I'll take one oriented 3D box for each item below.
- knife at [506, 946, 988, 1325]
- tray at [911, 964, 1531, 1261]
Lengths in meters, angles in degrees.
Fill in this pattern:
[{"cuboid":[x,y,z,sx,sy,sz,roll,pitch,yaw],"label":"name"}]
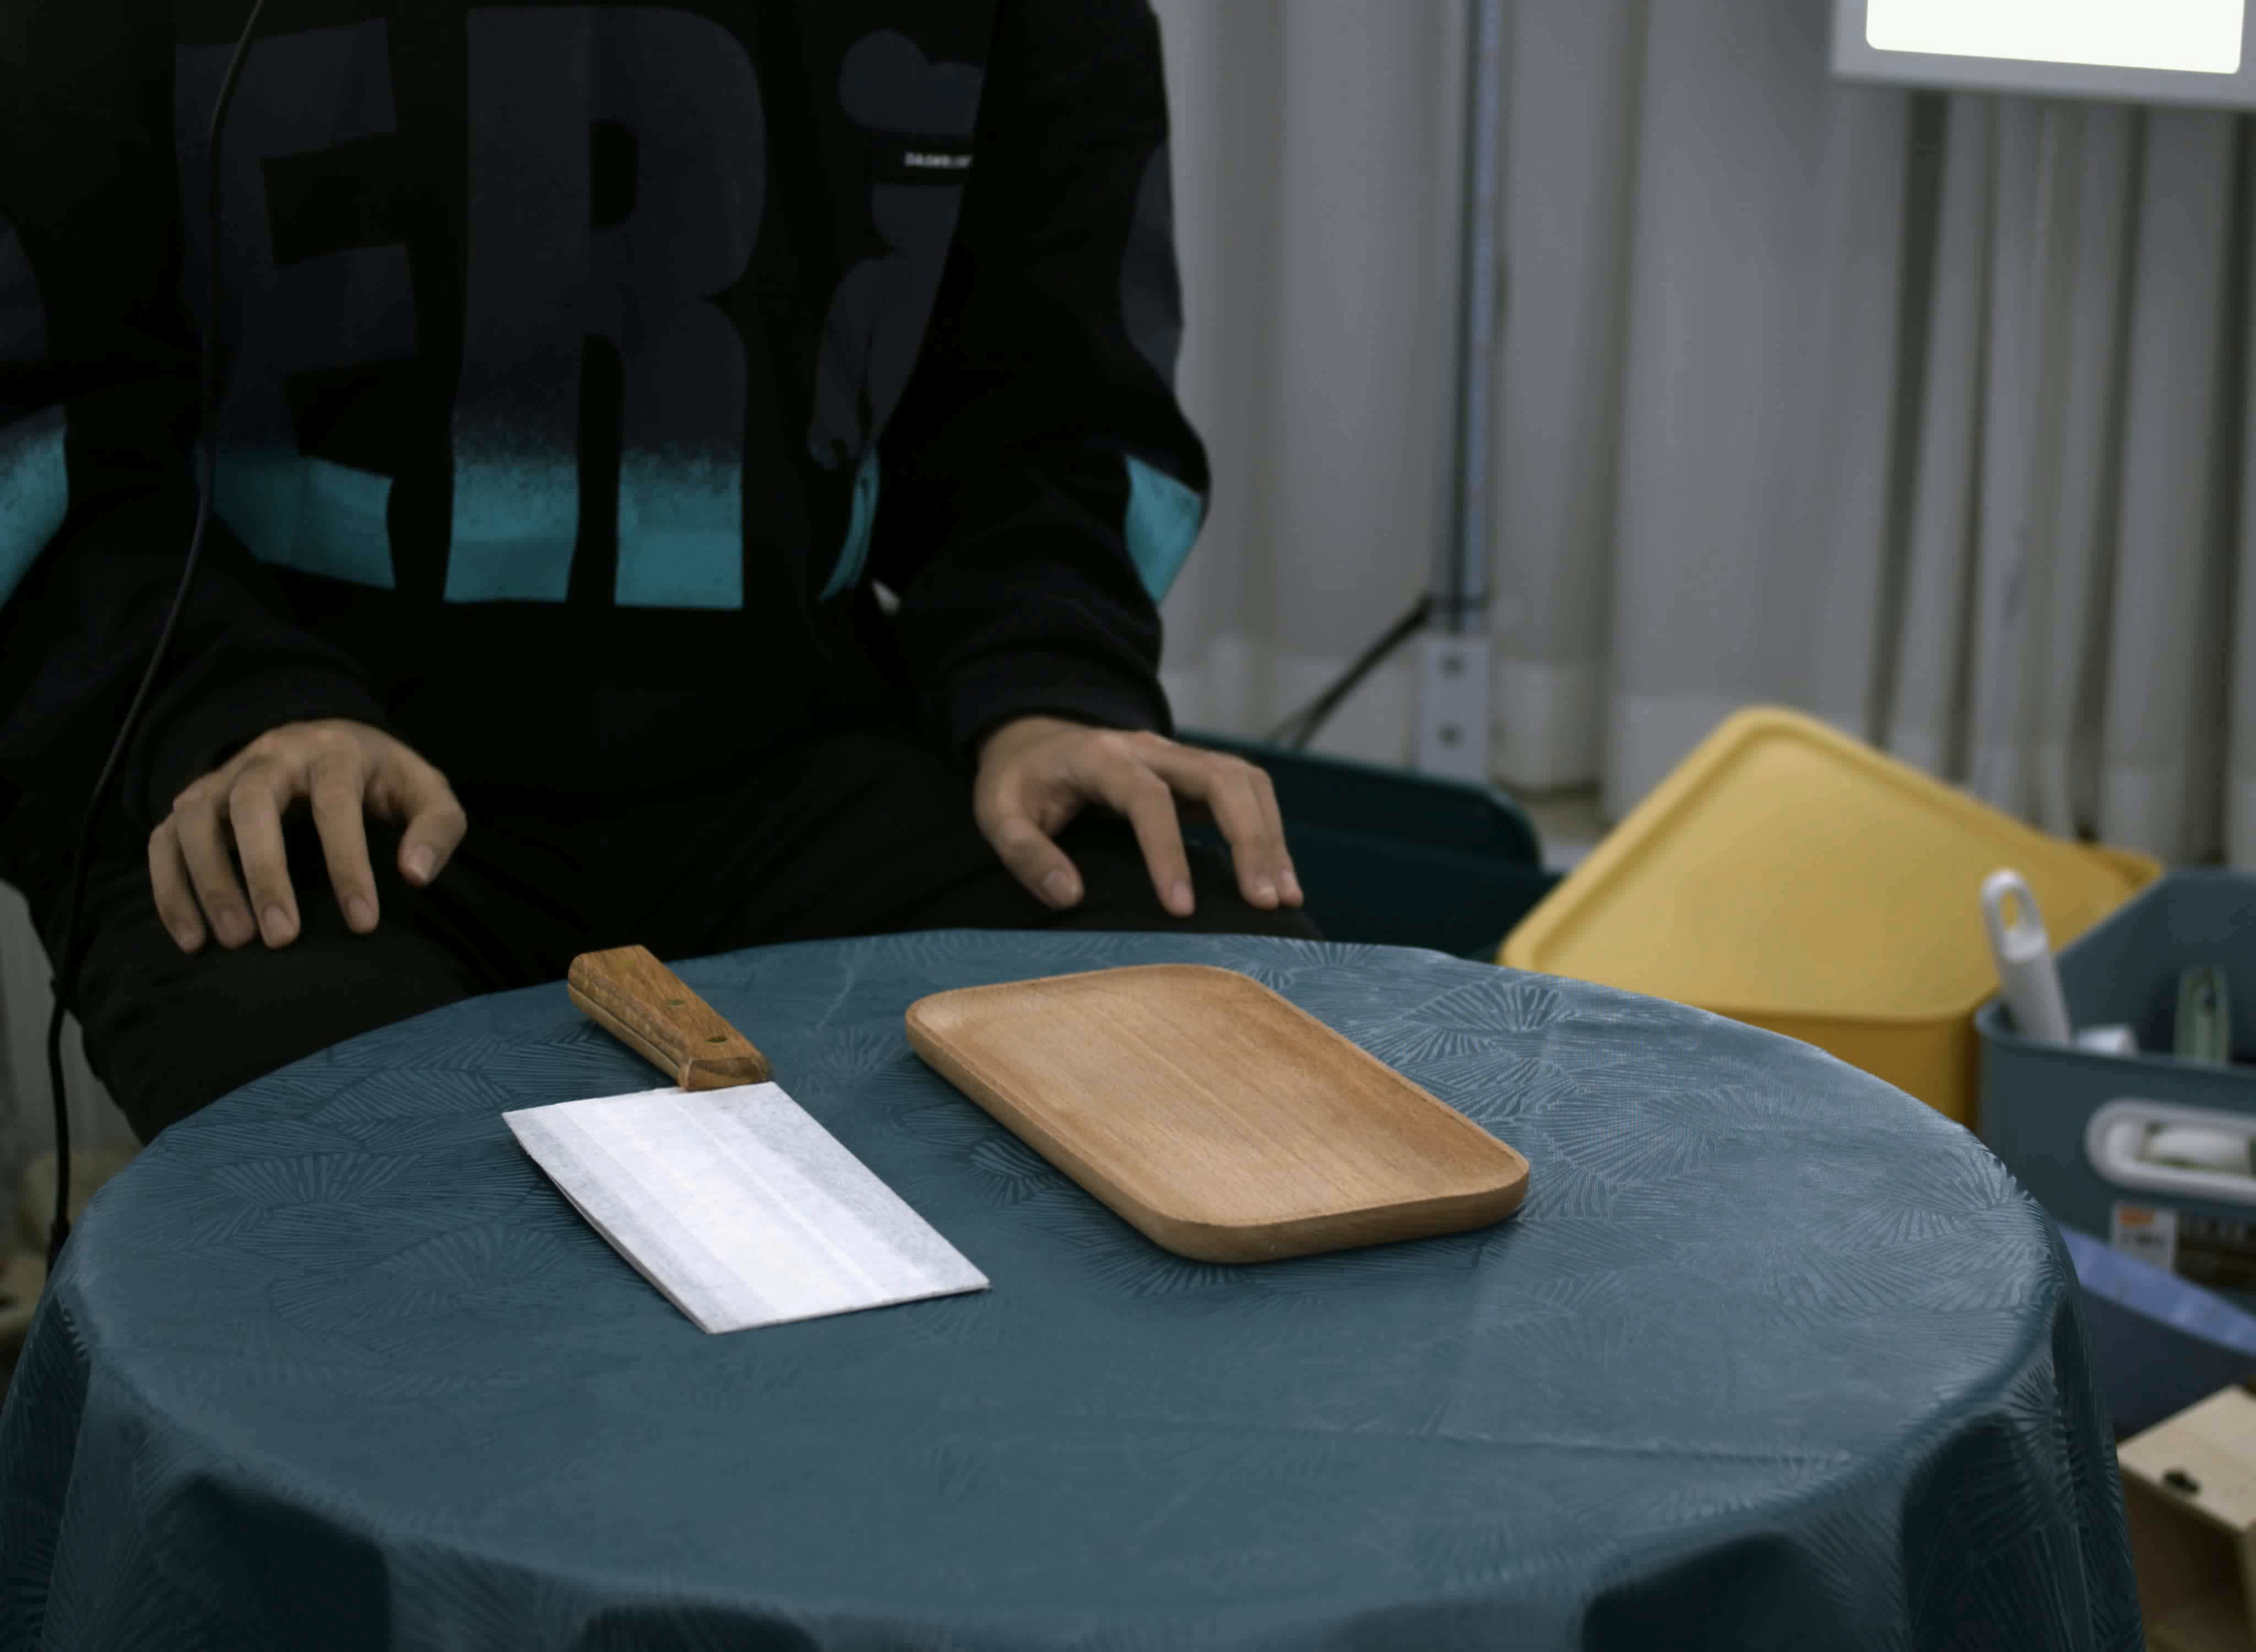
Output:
[{"cuboid":[-0.141,0.096,1.649,0.093,0.021,0.302,-8,20,-23],"label":"knife"},{"cuboid":[0.025,0.089,1.679,0.131,0.023,0.248,-4,15,-22],"label":"tray"}]
